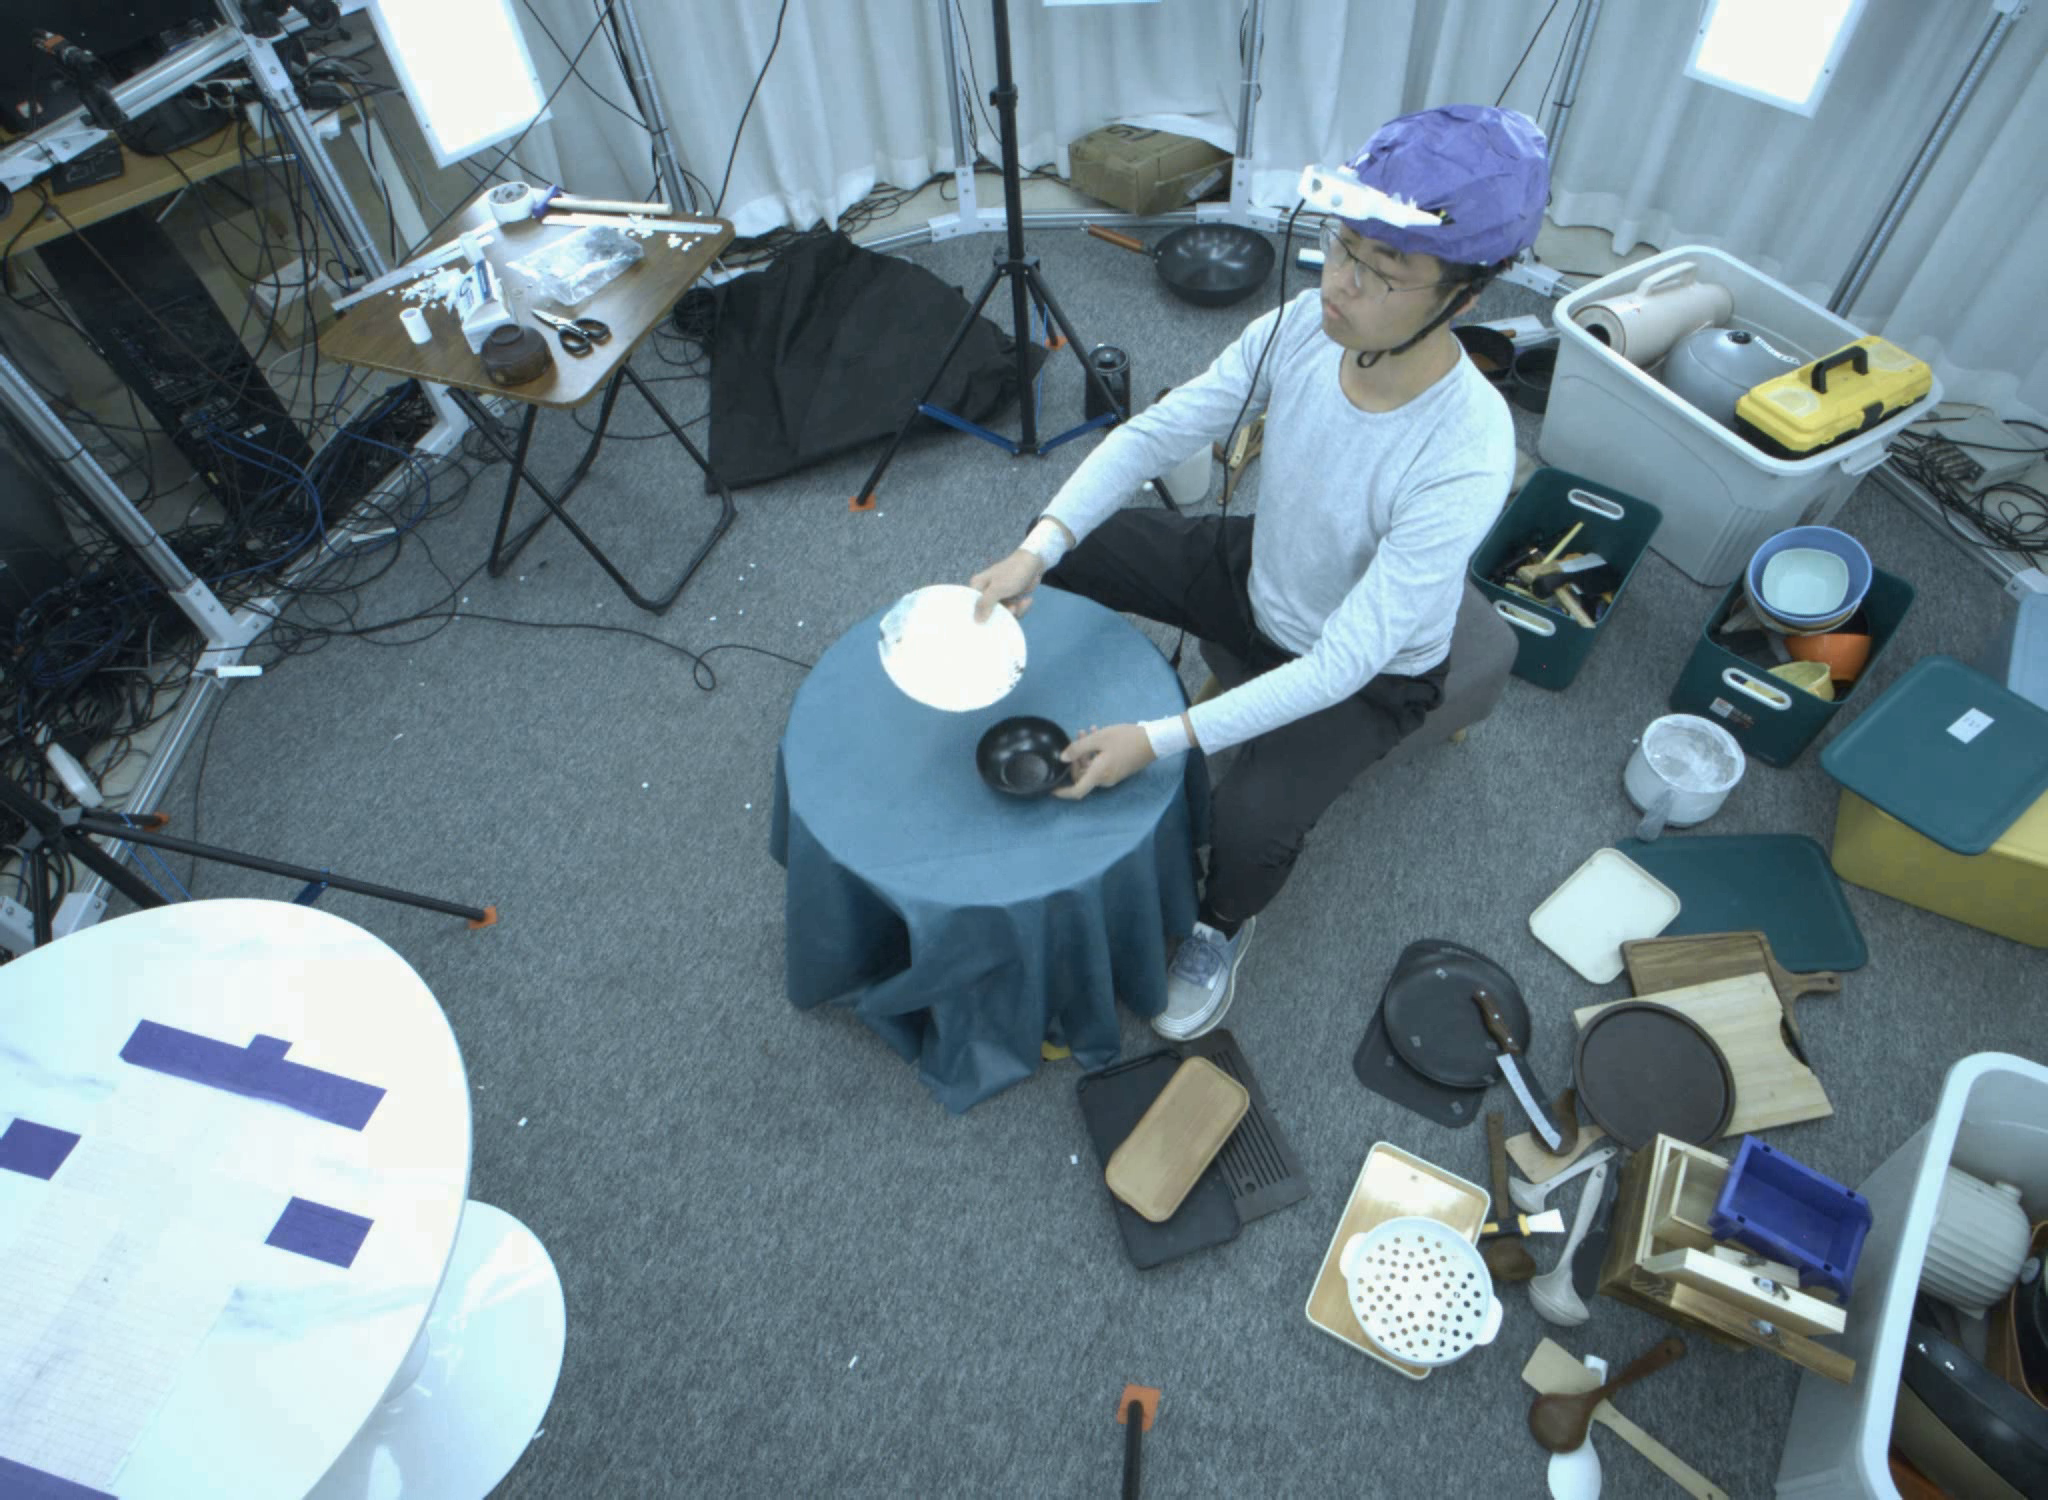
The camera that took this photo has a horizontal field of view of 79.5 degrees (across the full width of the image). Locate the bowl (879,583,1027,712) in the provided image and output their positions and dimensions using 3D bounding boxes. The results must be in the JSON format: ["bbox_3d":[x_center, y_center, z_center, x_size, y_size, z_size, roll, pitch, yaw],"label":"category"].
[{"bbox_3d":[-0.103,-0.126,1.699,0.206,0.078,0.202,7,63,-12],"label":"bowl"}]

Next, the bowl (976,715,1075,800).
[{"bbox_3d":[0.002,0.019,1.754,0.140,0.050,0.138,2,54,-2],"label":"bowl"}]
